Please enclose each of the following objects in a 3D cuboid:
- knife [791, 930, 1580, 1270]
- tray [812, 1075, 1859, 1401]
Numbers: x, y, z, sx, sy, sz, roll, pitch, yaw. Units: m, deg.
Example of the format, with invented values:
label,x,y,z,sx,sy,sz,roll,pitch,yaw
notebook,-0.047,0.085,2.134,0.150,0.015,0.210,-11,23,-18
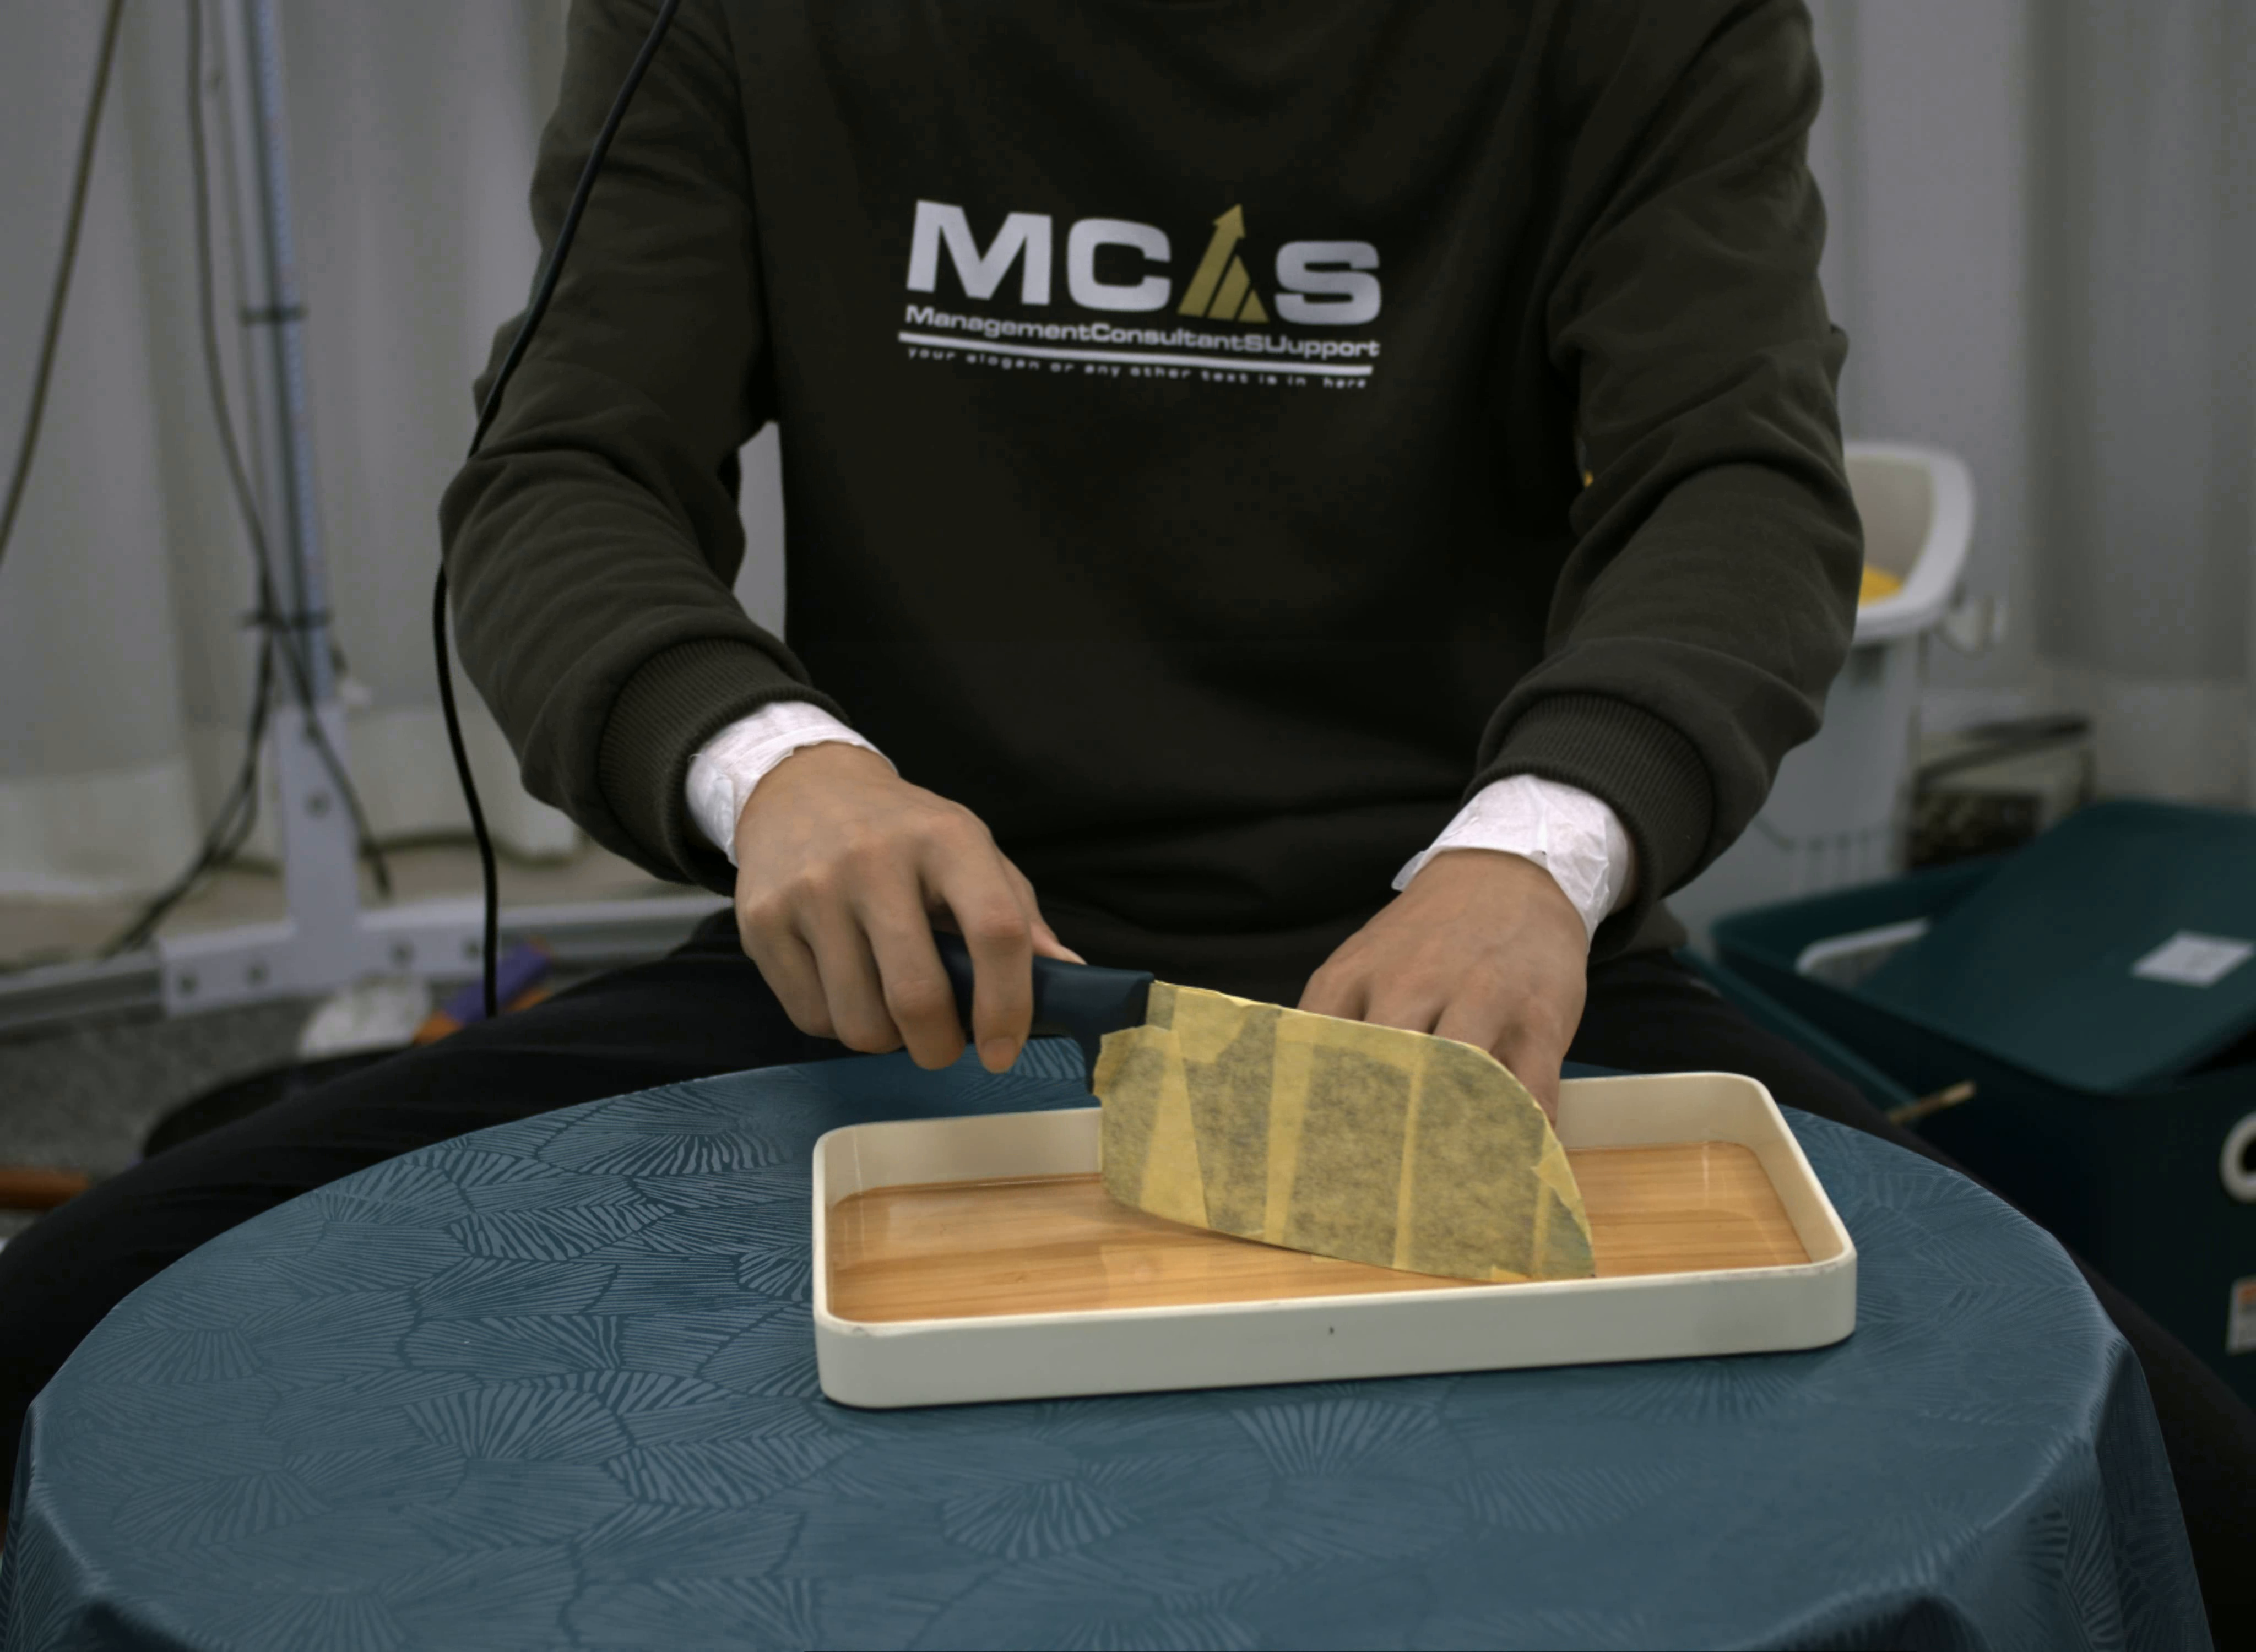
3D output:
label,x,y,z,sx,sy,sz,roll,pitch,yaw
knife,0.013,0.081,1.655,0.291,0.081,0.027,14,10,33
tray,0.056,0.121,1.631,0.299,0.027,0.193,-3,14,-2
